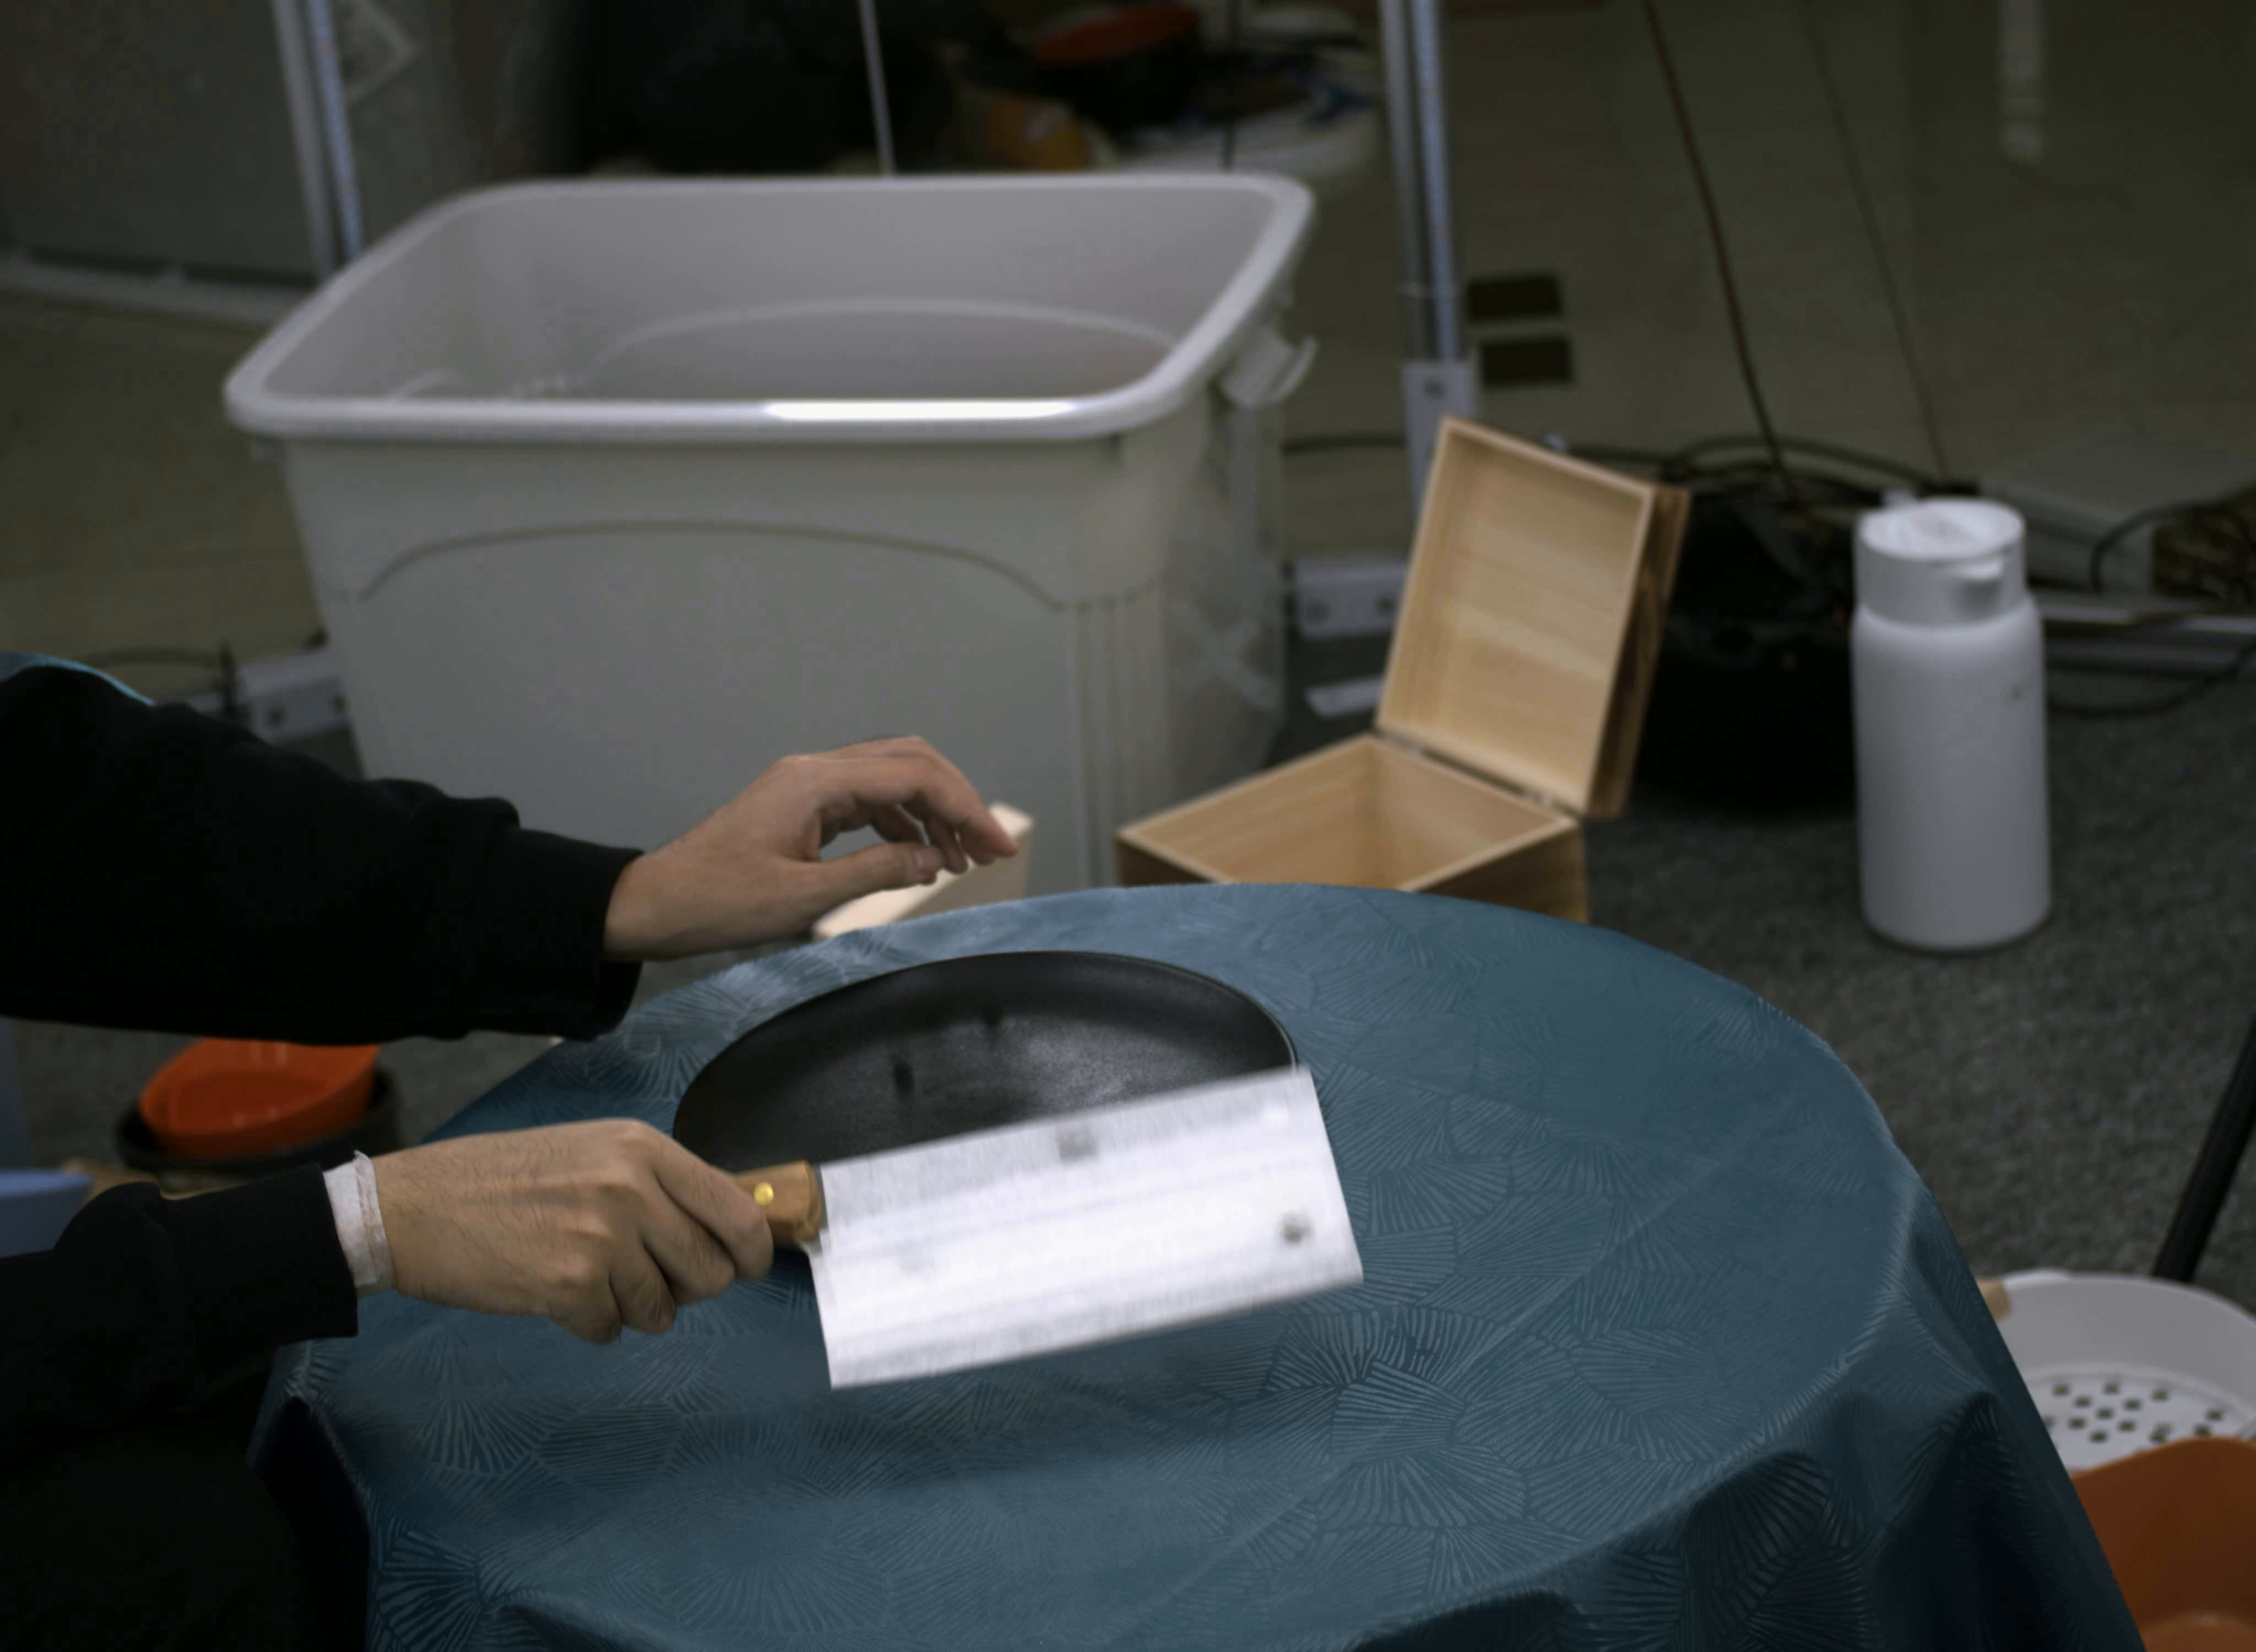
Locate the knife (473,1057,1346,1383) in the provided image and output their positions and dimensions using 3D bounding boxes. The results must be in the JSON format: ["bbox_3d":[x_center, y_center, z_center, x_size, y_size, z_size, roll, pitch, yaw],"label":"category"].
[{"bbox_3d":[-0.076,0.148,1.996,0.305,0.021,0.091,-12,58,-3],"label":"knife"}]

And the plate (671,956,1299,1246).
[{"bbox_3d":[-0.054,0.112,2.188,0.244,0.024,0.241,-5,25,3],"label":"plate"}]
